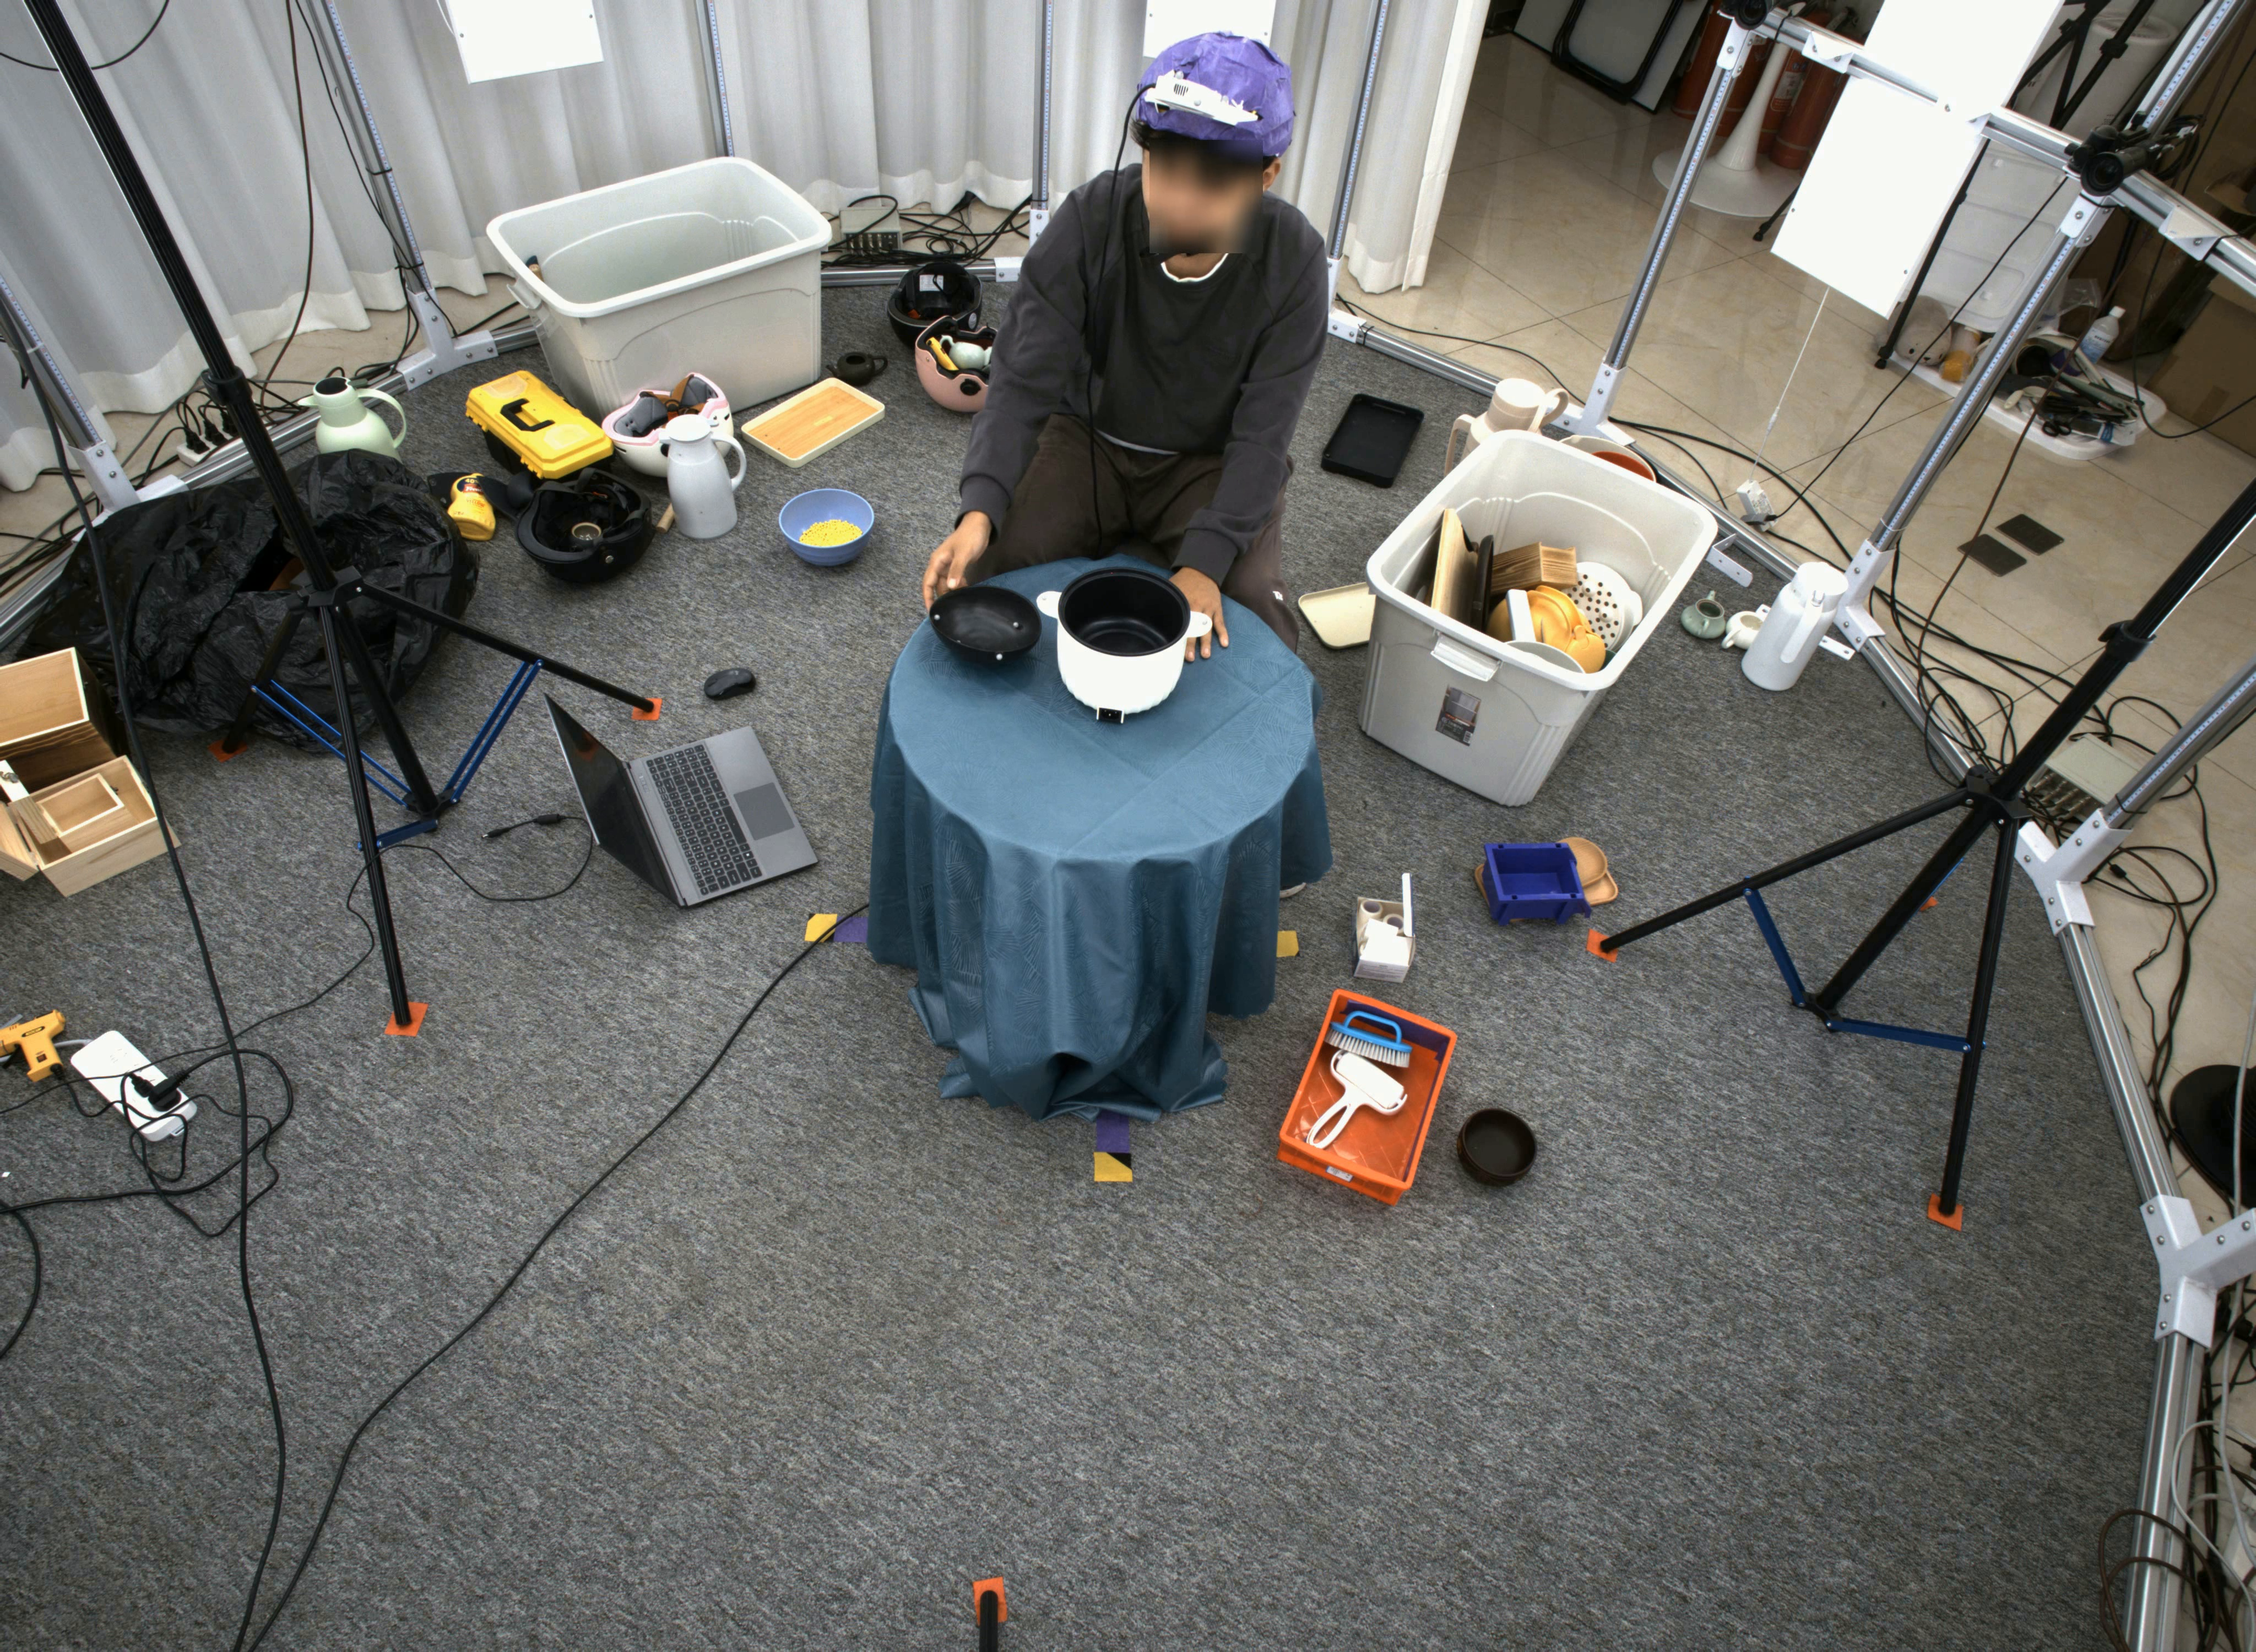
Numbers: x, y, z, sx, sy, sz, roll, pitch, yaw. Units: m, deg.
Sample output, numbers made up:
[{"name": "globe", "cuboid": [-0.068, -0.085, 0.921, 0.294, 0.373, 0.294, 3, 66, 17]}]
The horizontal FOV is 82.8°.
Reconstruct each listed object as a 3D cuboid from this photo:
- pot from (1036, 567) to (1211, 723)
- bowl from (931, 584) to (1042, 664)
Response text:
[{"name": "pot", "cuboid": [-0.010, -0.256, 1.798, 0.240, 0.139, 0.195, 8, 52, 1]}, {"name": "bowl", "cuboid": [-0.204, -0.279, 1.850, 0.171, 0.065, 0.140, 23, 51, 16]}]
